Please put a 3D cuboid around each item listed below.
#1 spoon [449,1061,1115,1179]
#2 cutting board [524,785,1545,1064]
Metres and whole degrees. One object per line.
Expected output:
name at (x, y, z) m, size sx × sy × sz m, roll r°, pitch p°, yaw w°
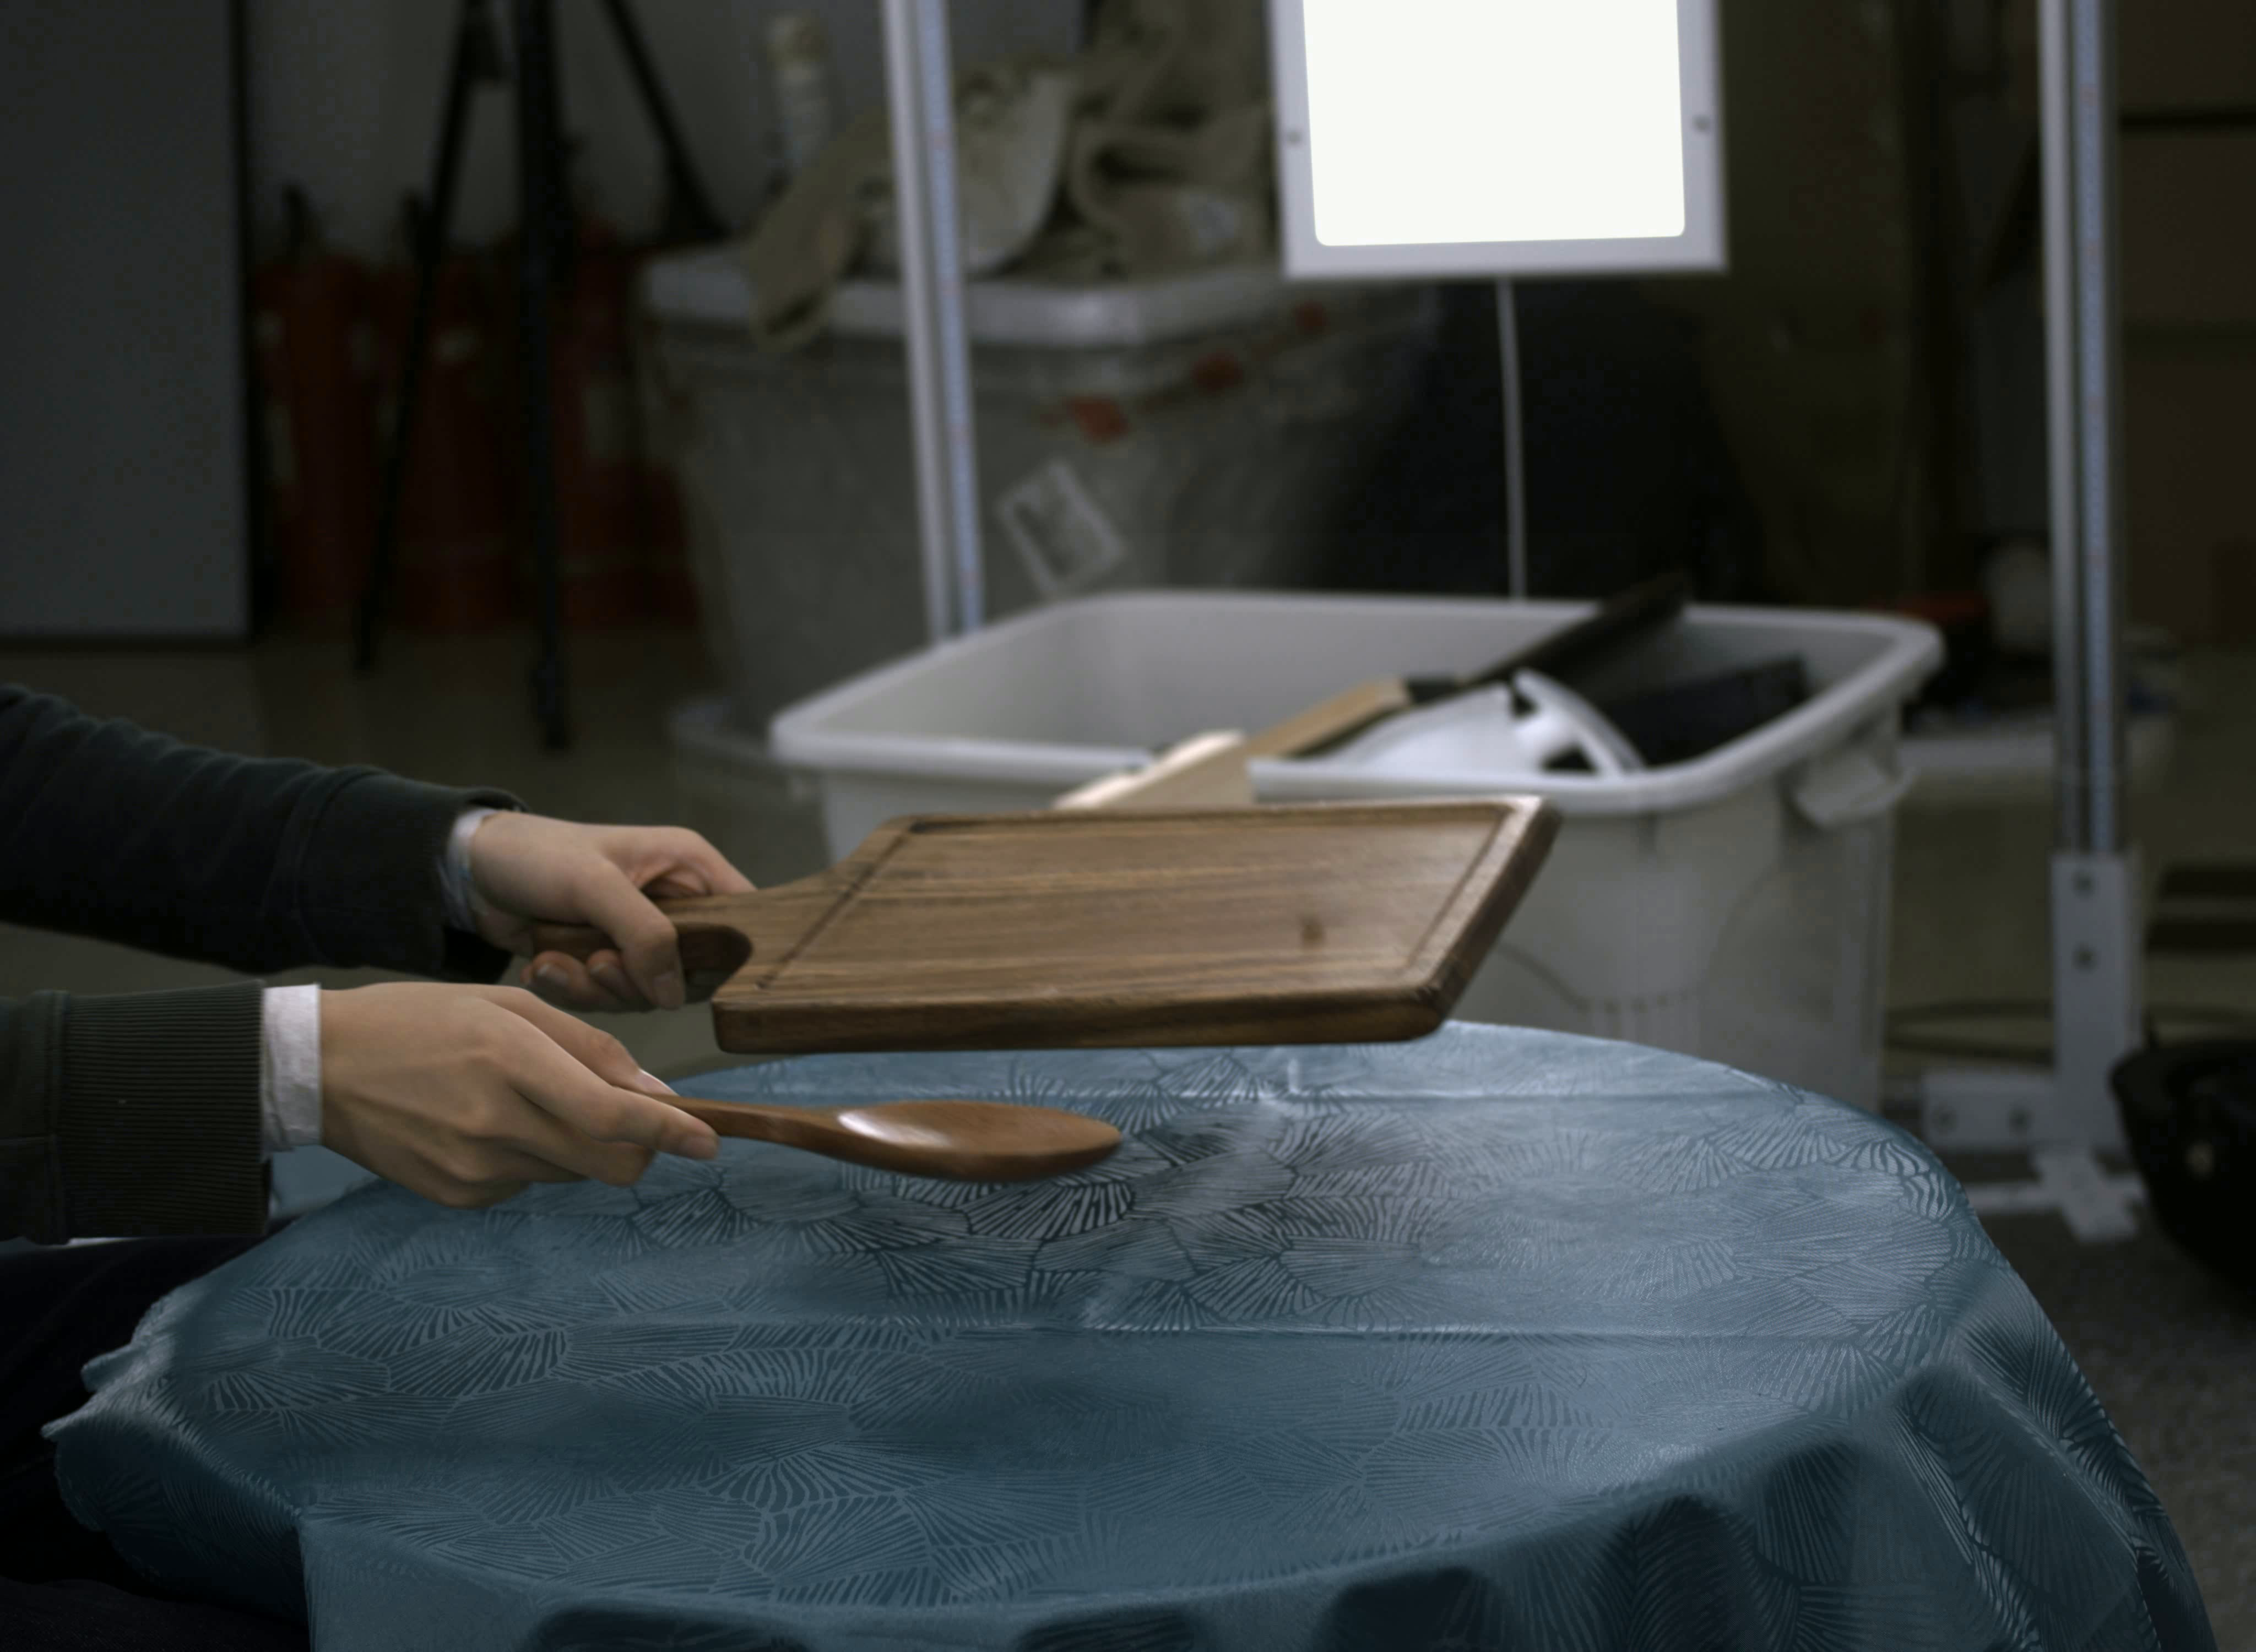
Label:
spoon at (-0.109, 0.091, 1.719) m, size 0.218 × 0.017 × 0.074 m, roll 5°, pitch 12°, yaw 16°
cutting board at (-0.043, 0.034, 1.895) m, size 0.357 × 0.023 × 0.198 m, roll -3°, pitch 20°, yaw 20°
